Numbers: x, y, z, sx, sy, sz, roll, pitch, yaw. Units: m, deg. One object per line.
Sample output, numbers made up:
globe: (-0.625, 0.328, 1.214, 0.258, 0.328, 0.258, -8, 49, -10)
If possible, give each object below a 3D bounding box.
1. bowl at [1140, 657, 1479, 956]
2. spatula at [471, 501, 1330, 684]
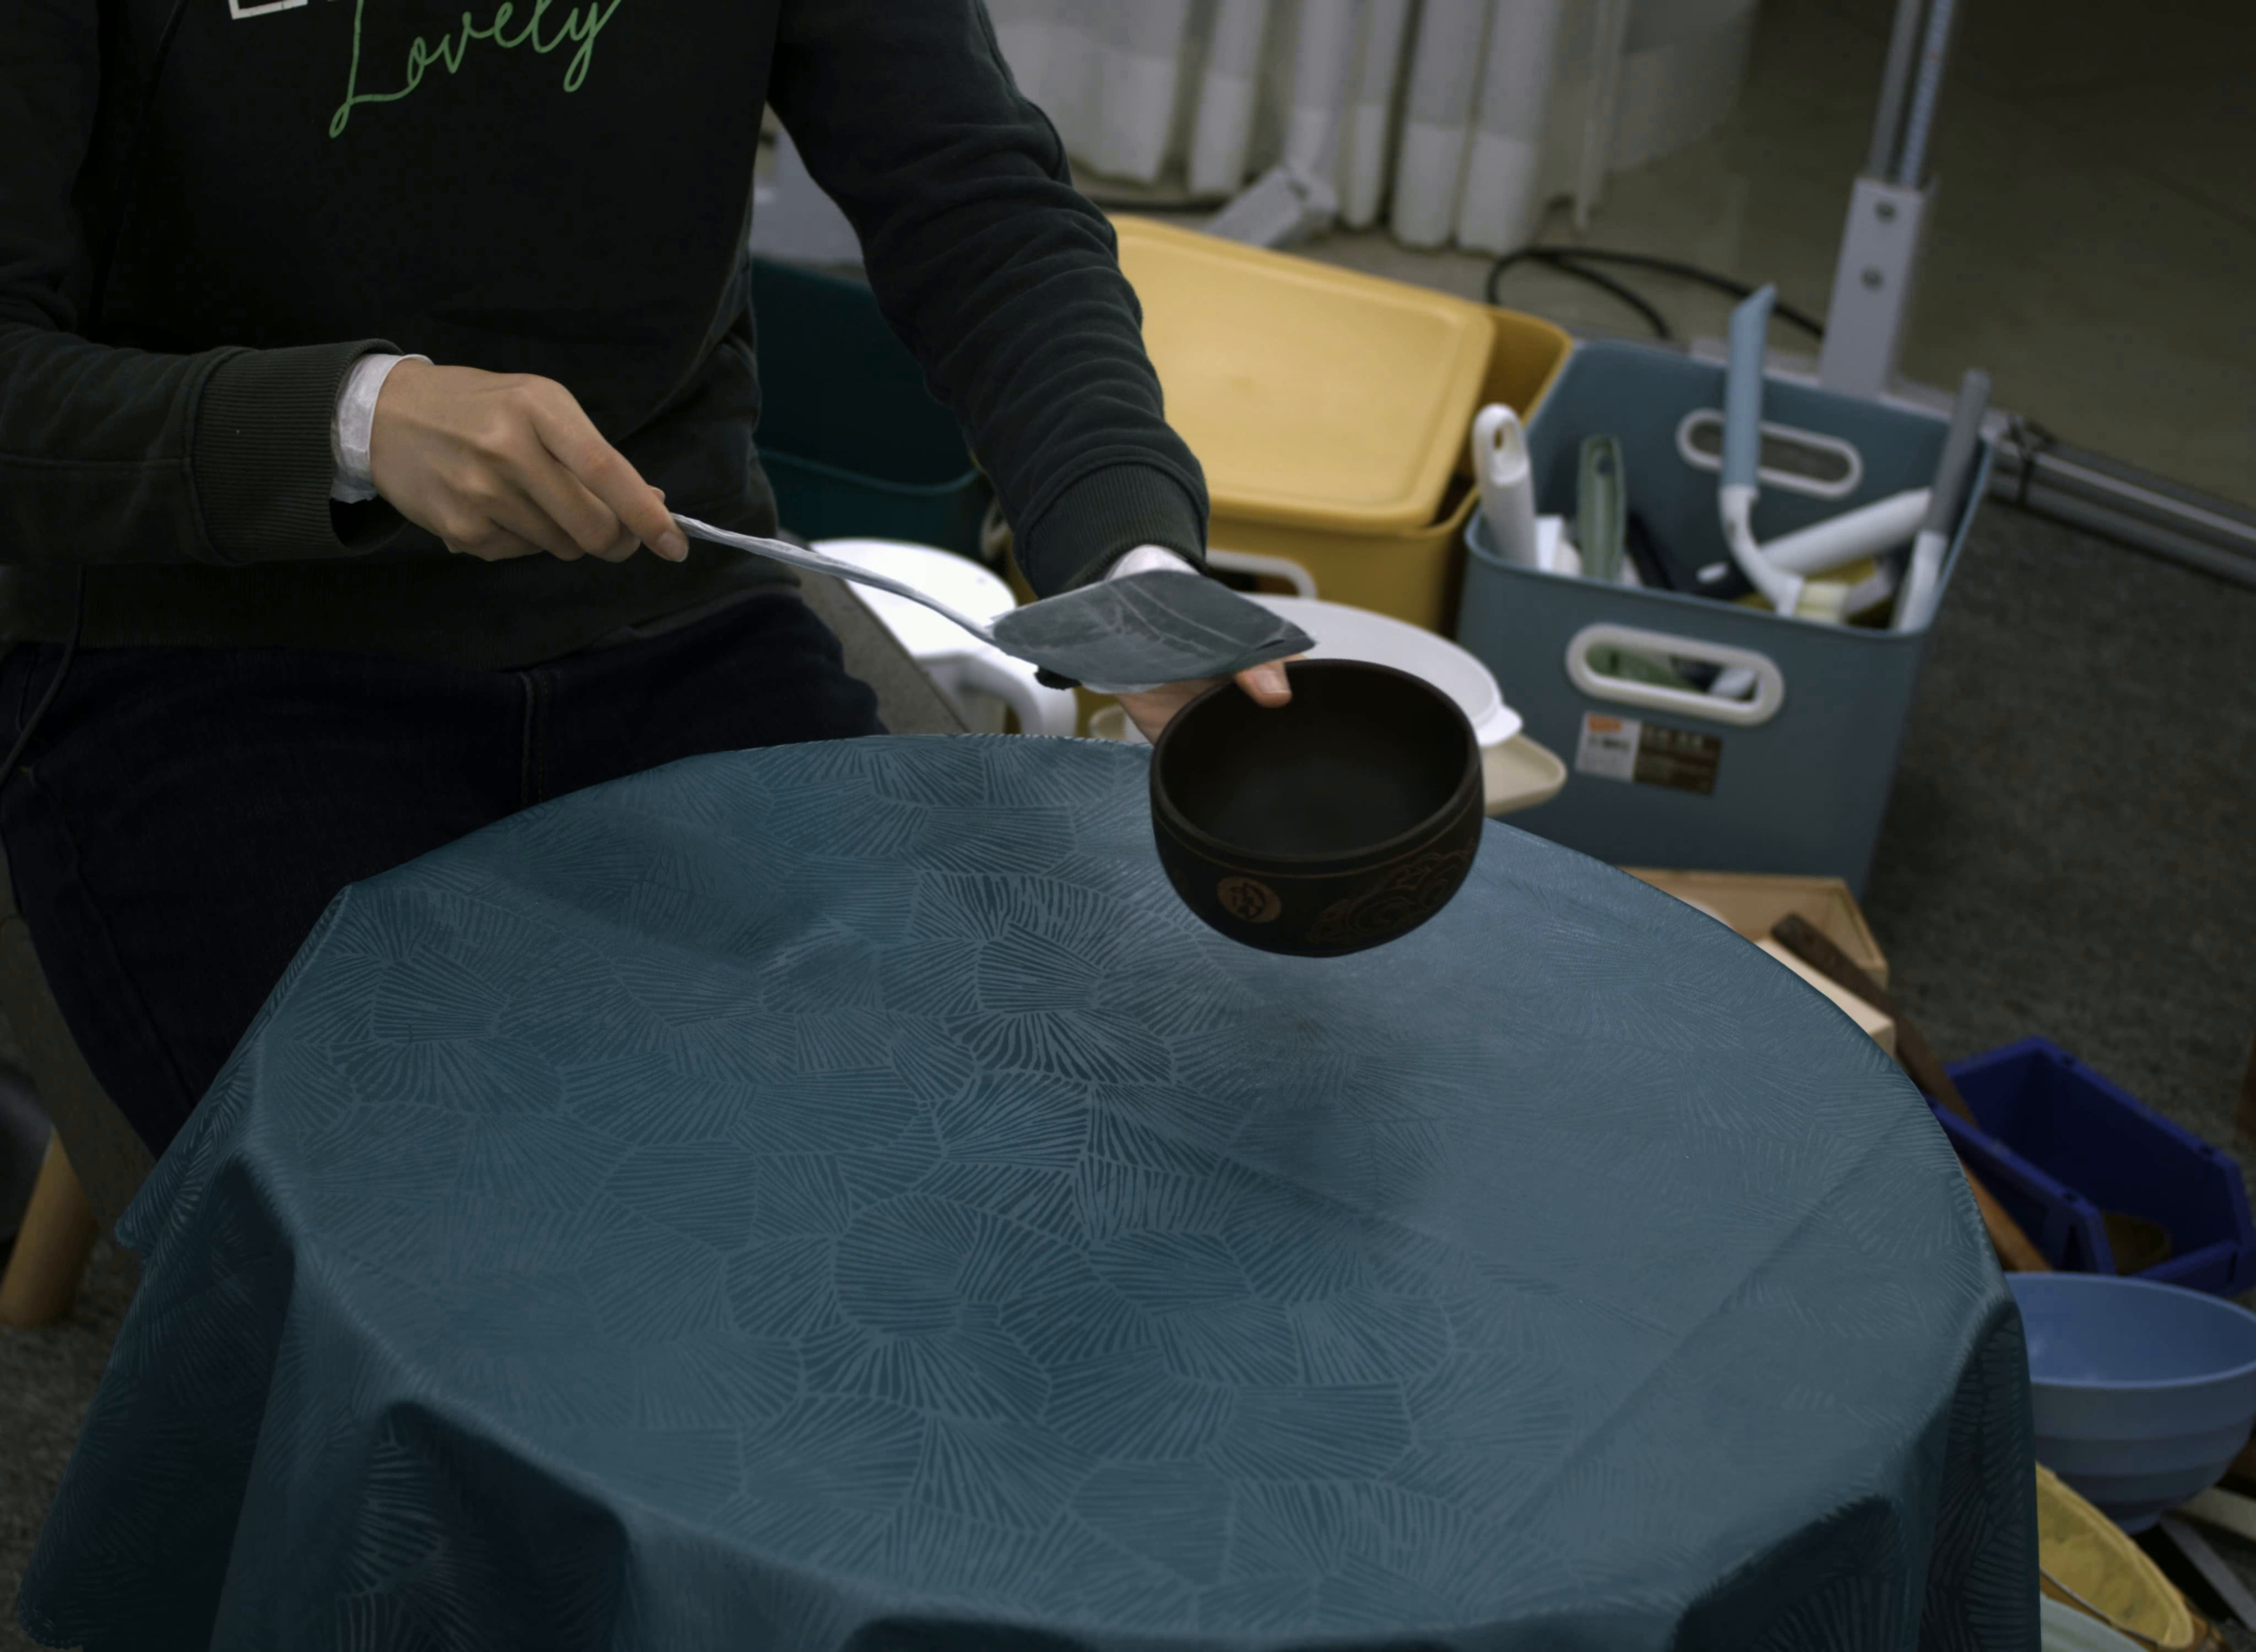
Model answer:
bowl: (0.065, 0.002, 1.865, 0.118, 0.069, 0.119, -4, 36, 3)
spatula: (-0.097, -0.092, 1.842, 0.367, 0.045, 0.098, 15, -6, 36)
